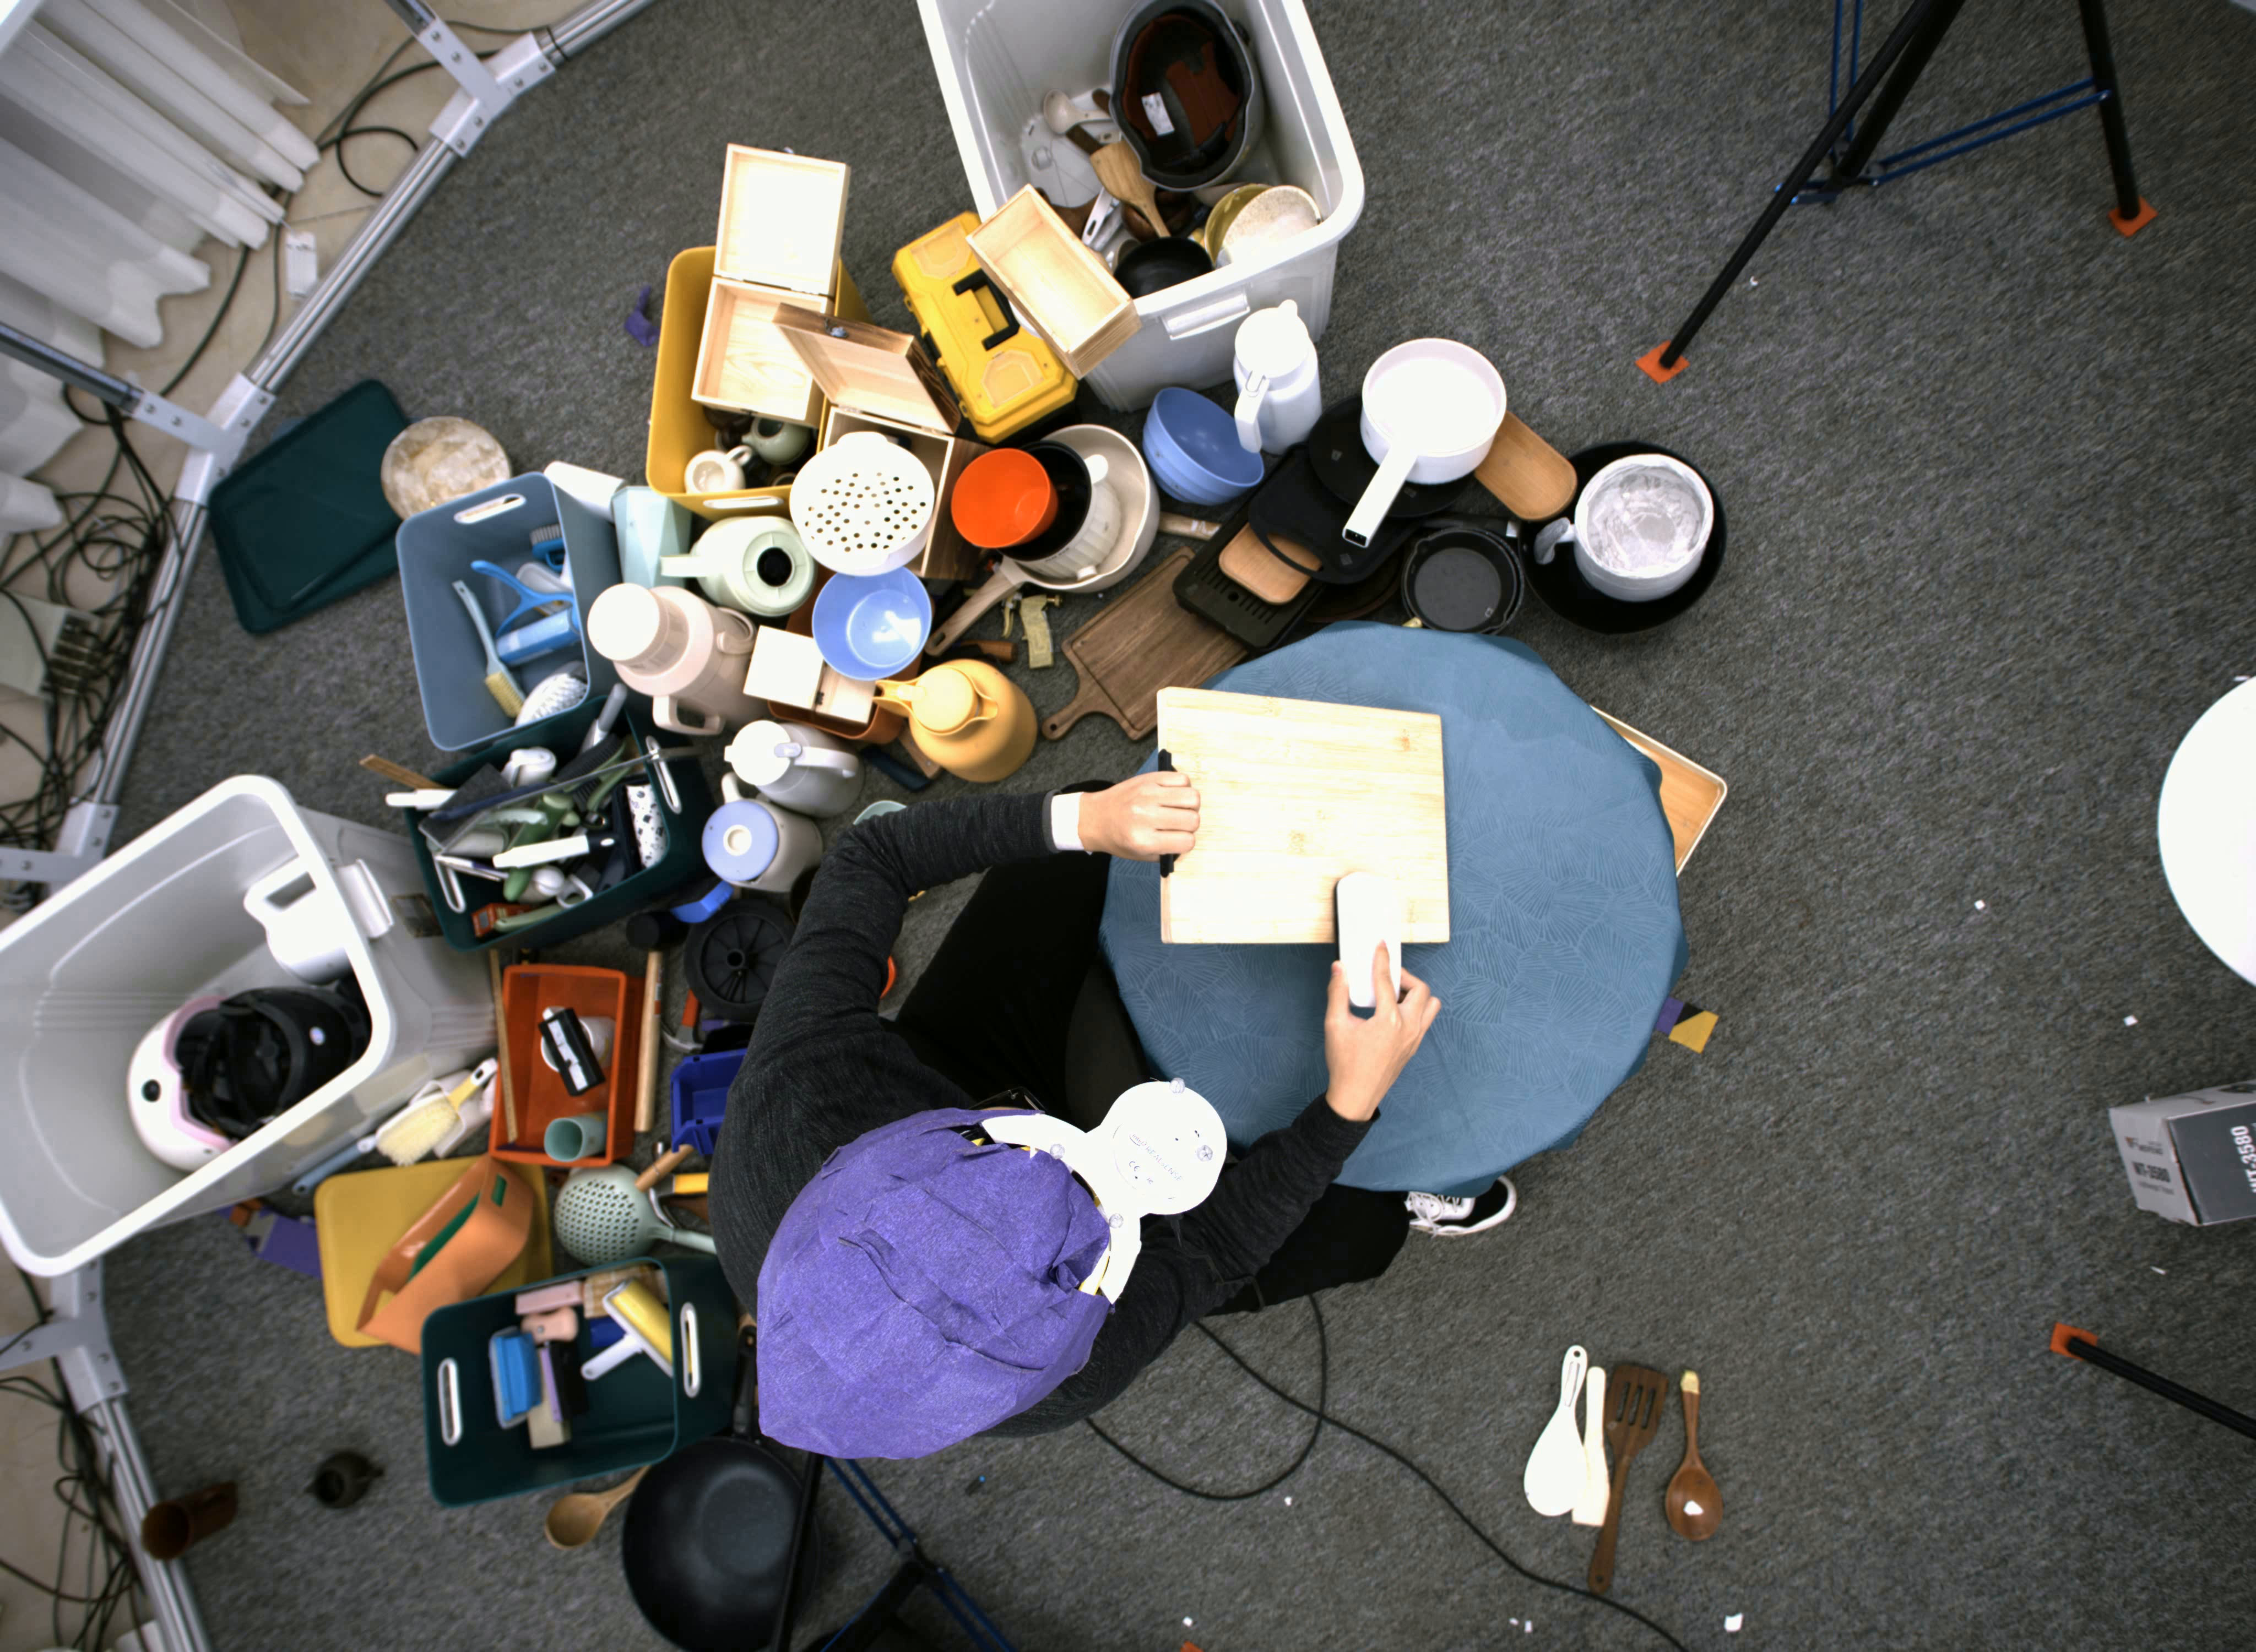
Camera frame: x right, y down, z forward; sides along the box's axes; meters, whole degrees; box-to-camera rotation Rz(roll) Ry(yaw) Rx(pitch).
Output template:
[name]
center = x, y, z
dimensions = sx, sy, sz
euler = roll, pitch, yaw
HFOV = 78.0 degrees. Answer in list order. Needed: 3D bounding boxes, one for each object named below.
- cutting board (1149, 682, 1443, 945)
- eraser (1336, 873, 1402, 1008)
[cutting board]
center = 0.175, -0.006, 1.363
dimensions = 0.347, 0.024, 0.249
euler = 1, 86, -29
[eraser]
center = 0.235, 0.111, 1.352
dimensions = 0.063, 0.035, 0.129
euler = 8, 75, -27
